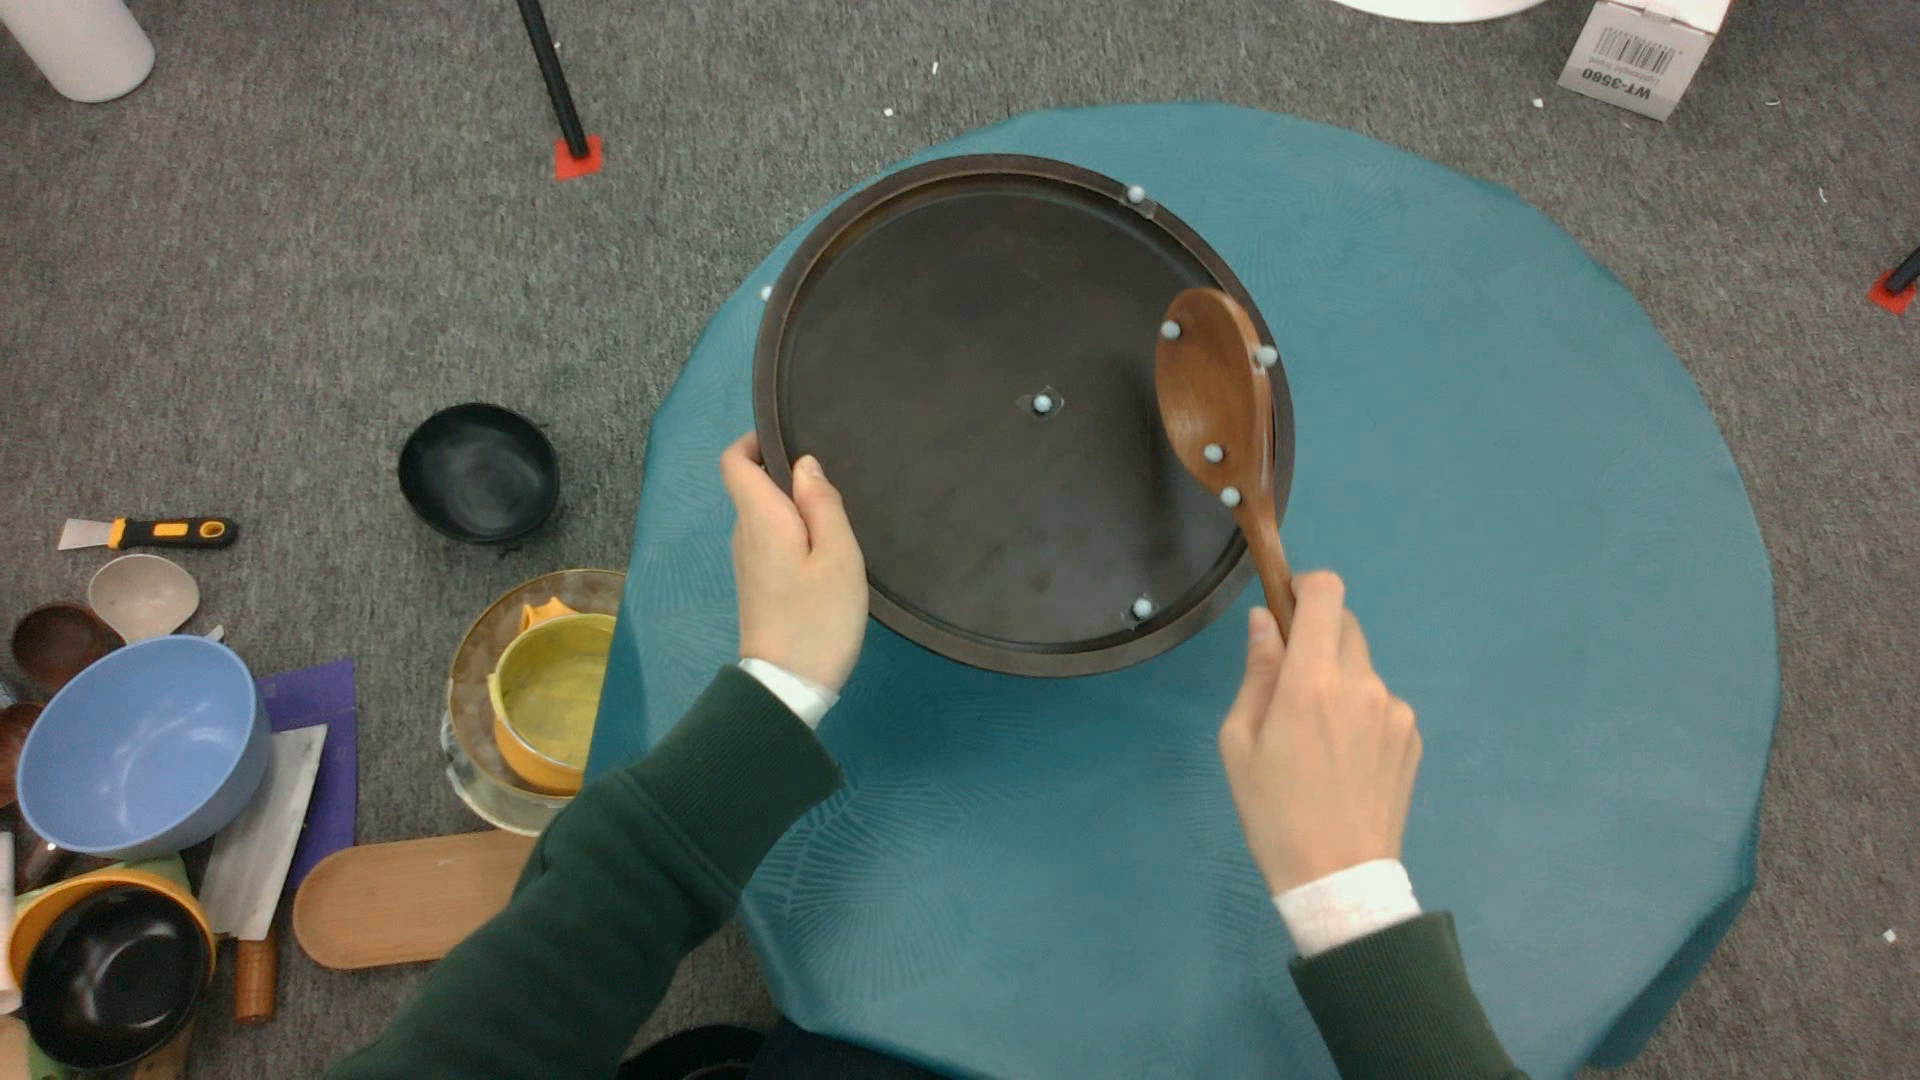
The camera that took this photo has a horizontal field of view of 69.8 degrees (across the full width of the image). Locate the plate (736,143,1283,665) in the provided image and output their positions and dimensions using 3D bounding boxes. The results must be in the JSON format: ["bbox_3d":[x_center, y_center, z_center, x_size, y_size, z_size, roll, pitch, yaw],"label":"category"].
[{"bbox_3d":[0.026,-0.066,0.628,0.255,0.029,0.255,4,70,-12],"label":"plate"}]

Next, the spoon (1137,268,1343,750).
[{"bbox_3d":[0.119,-0.016,0.578,0.017,0.075,0.216,-4,68,-26],"label":"spoon"}]
